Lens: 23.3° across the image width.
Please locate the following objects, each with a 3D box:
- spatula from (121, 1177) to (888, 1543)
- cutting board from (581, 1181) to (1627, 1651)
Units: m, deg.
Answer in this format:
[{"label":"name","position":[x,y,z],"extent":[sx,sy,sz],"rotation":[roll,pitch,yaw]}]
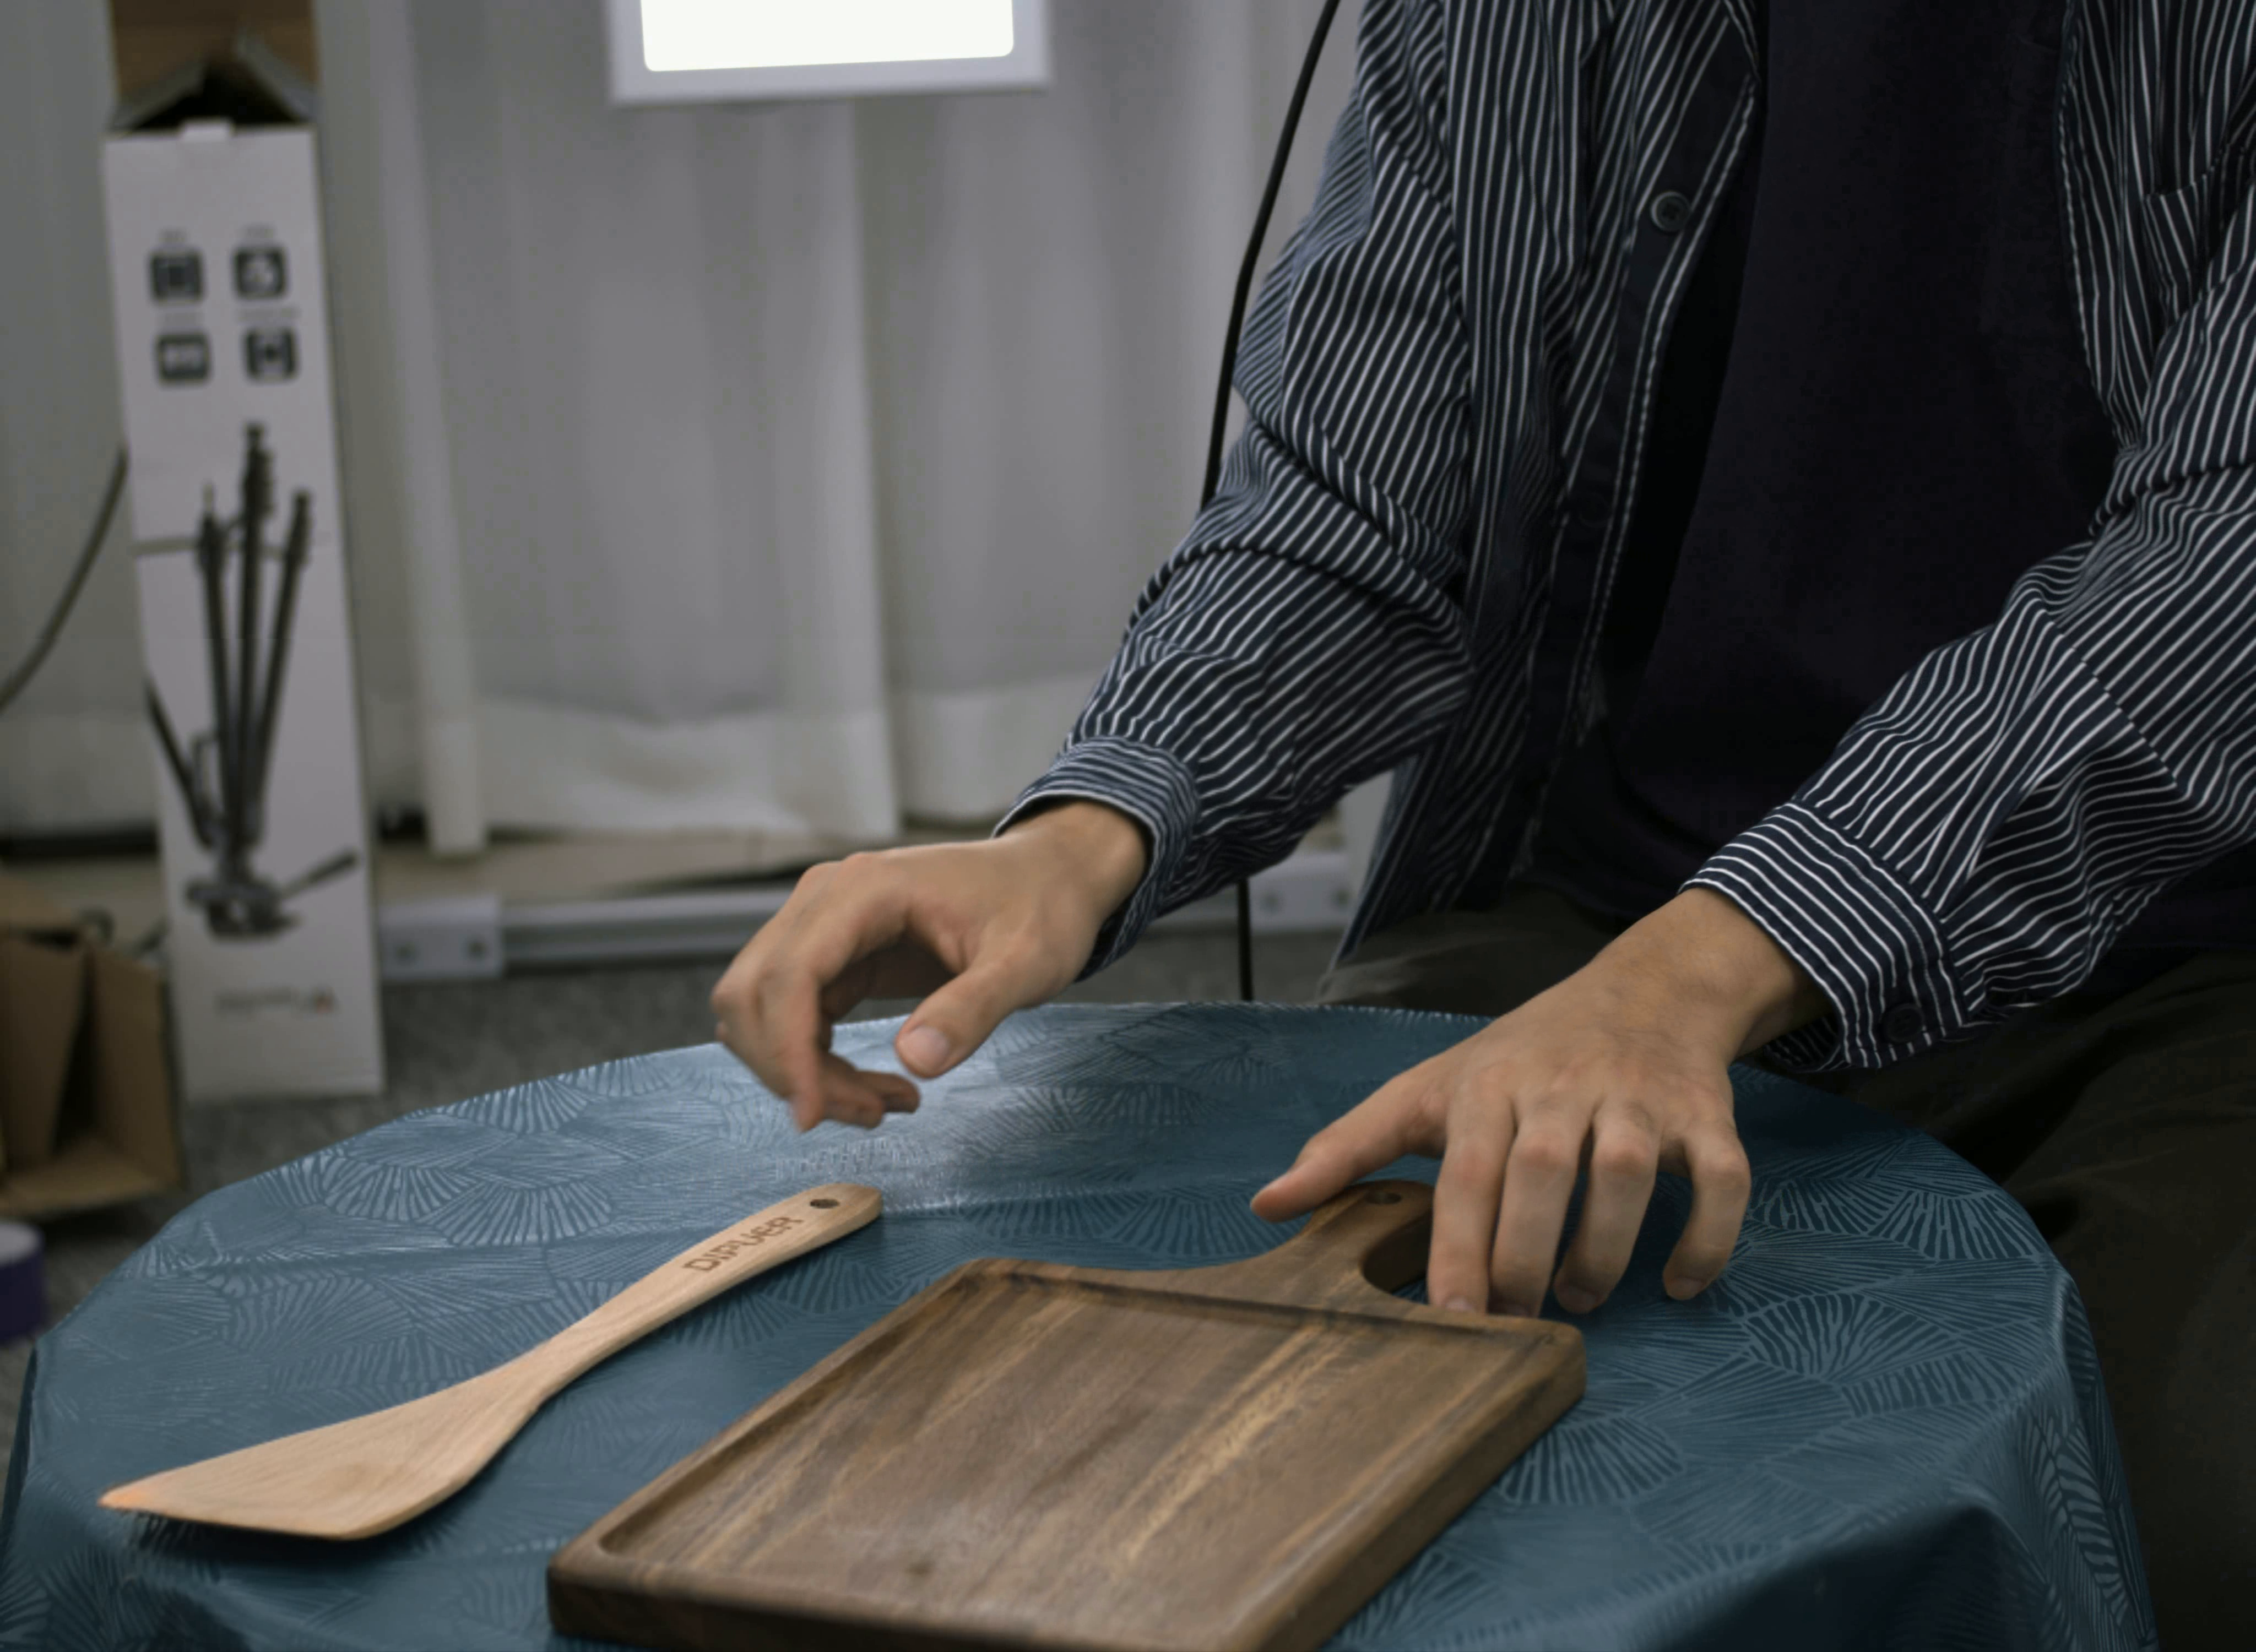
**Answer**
[{"label":"spatula","position":[-0.160,0.151,1.581],"extent":[0.080,0.016,0.328],"rotation":[6,18,28]},{"label":"cutting board","position":[0.021,0.162,1.496],"extent":[0.201,0.023,0.353],"rotation":[5,17,26]}]
